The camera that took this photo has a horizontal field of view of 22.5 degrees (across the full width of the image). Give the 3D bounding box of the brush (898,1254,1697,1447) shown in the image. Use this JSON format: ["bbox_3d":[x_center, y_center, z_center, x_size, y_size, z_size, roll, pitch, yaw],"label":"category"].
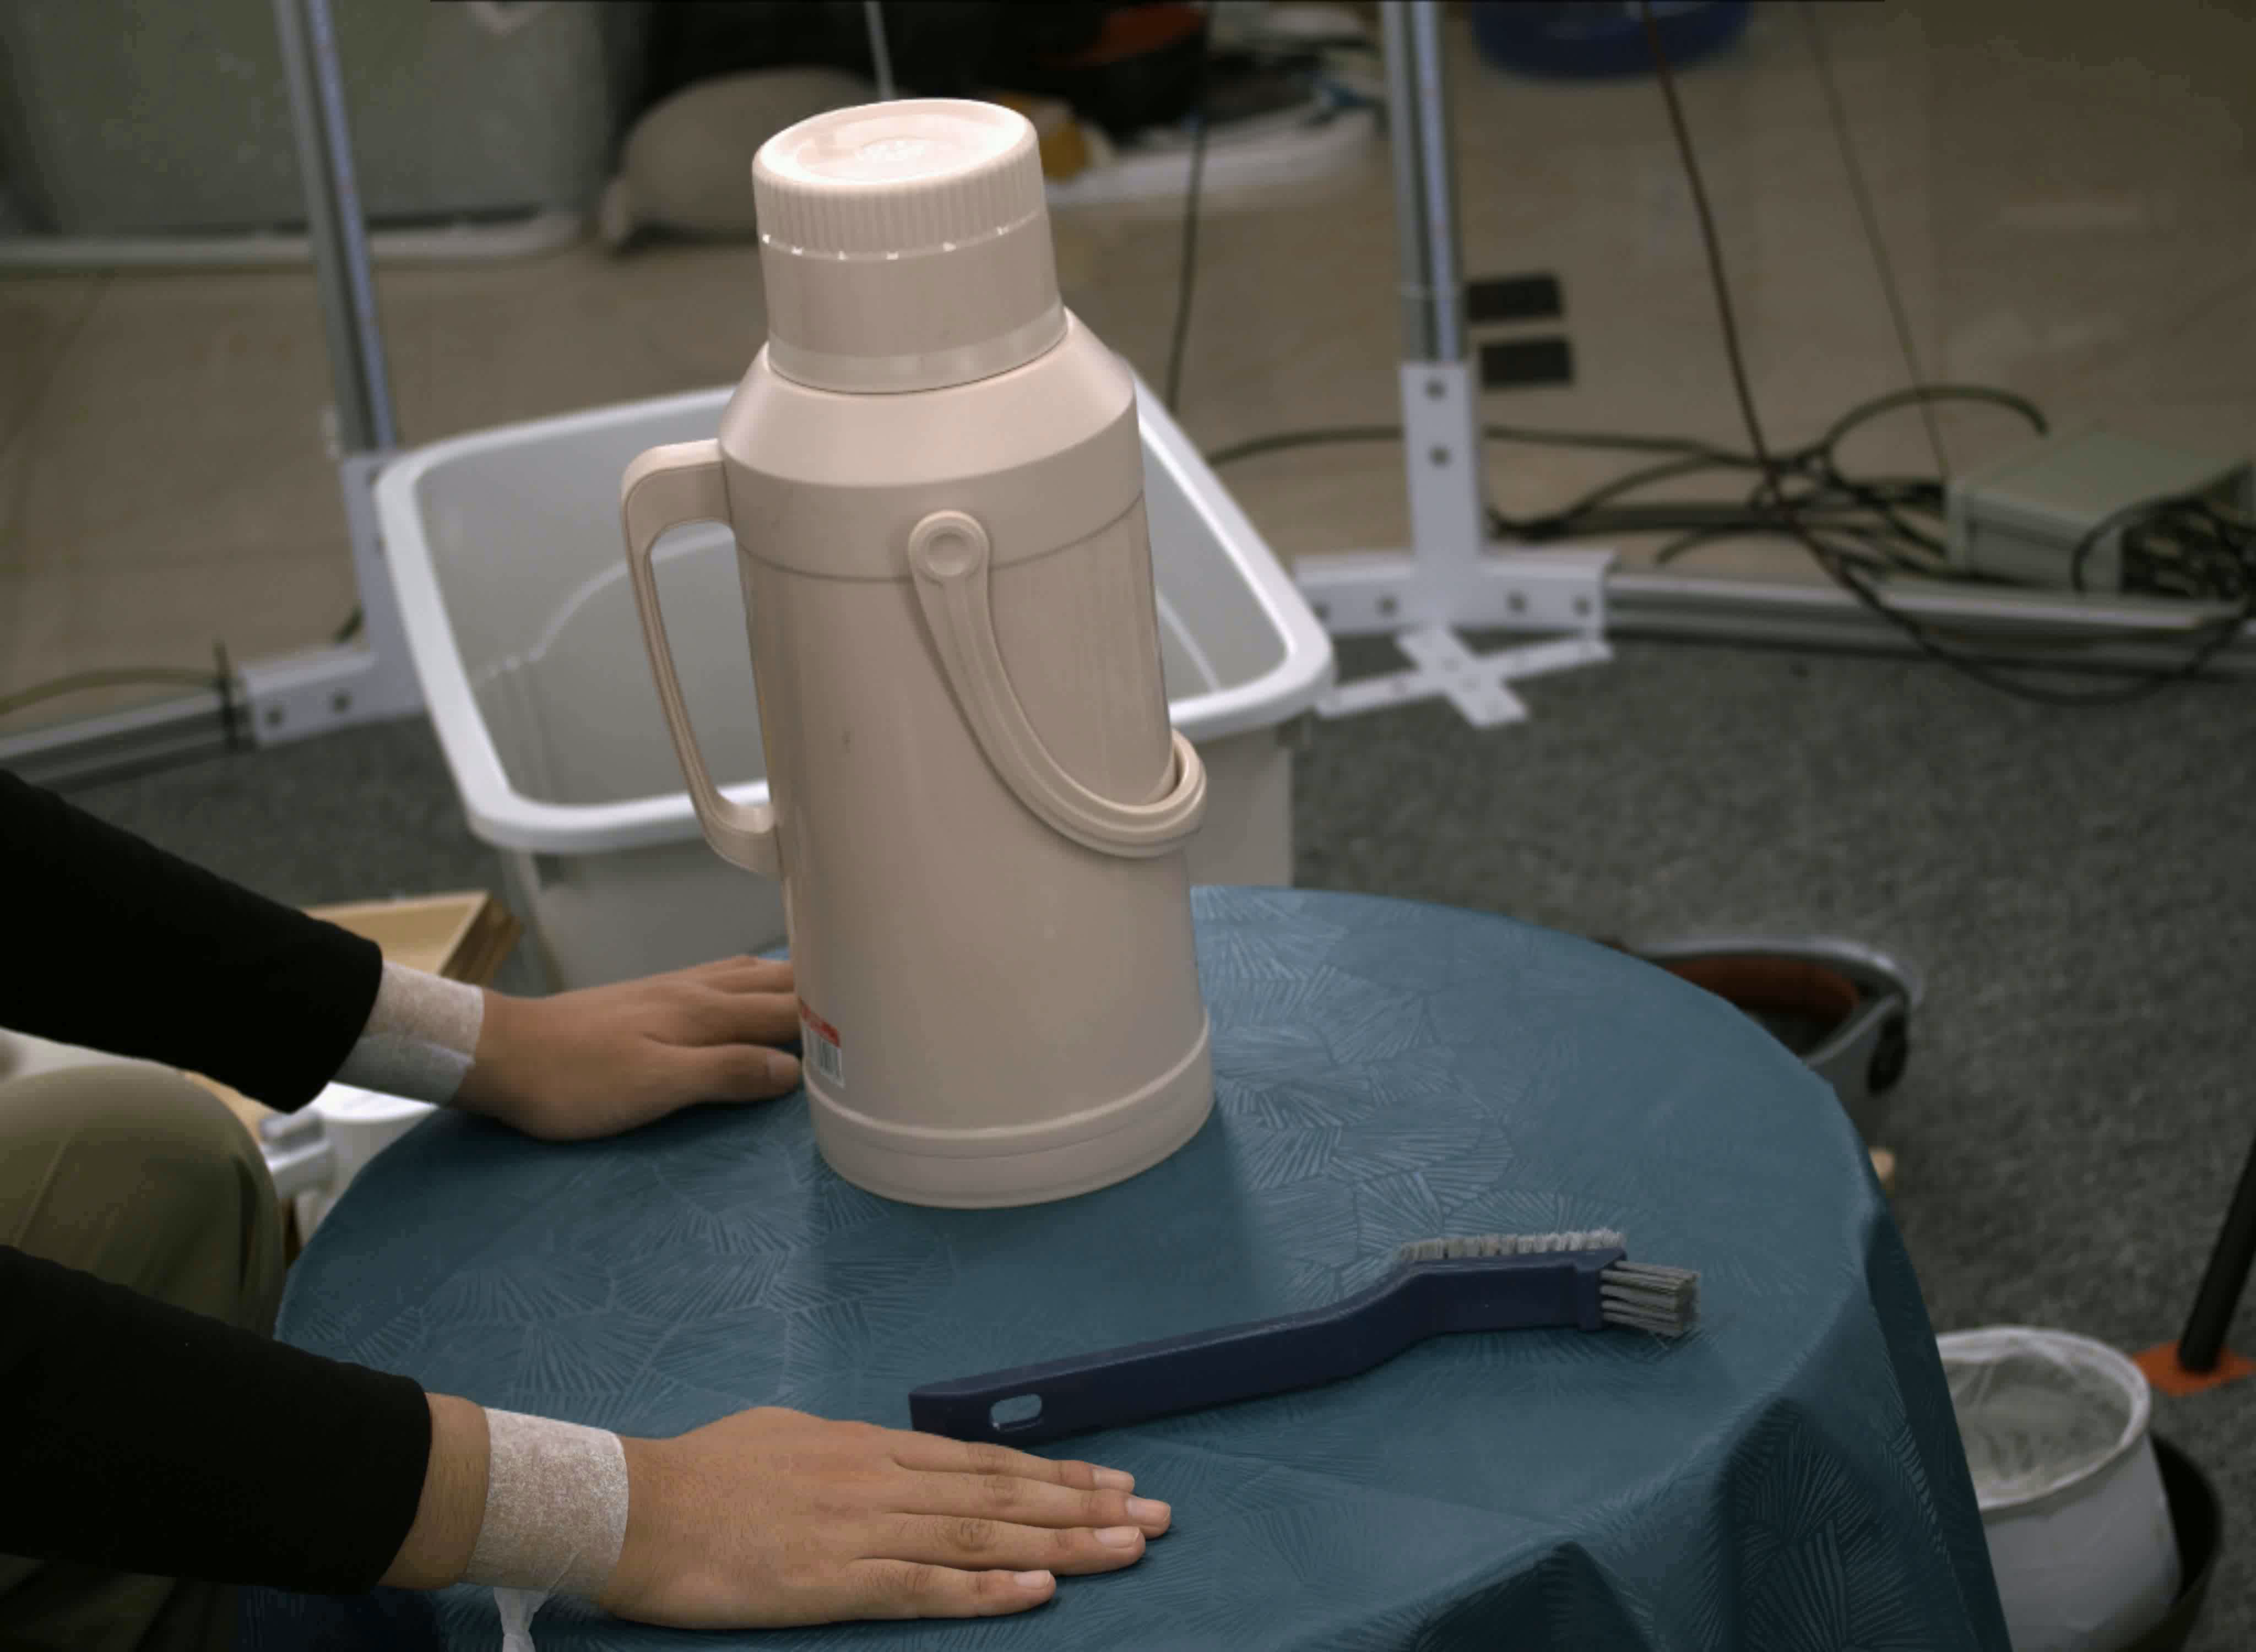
[{"bbox_3d":[0.058,0.185,1.994,0.272,0.034,0.094,-12,23,-17],"label":"brush"}]

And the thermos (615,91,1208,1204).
[{"bbox_3d":[-0.080,-0.066,2.131,0.206,0.413,0.172,-8,27,-3],"label":"thermos"}]
